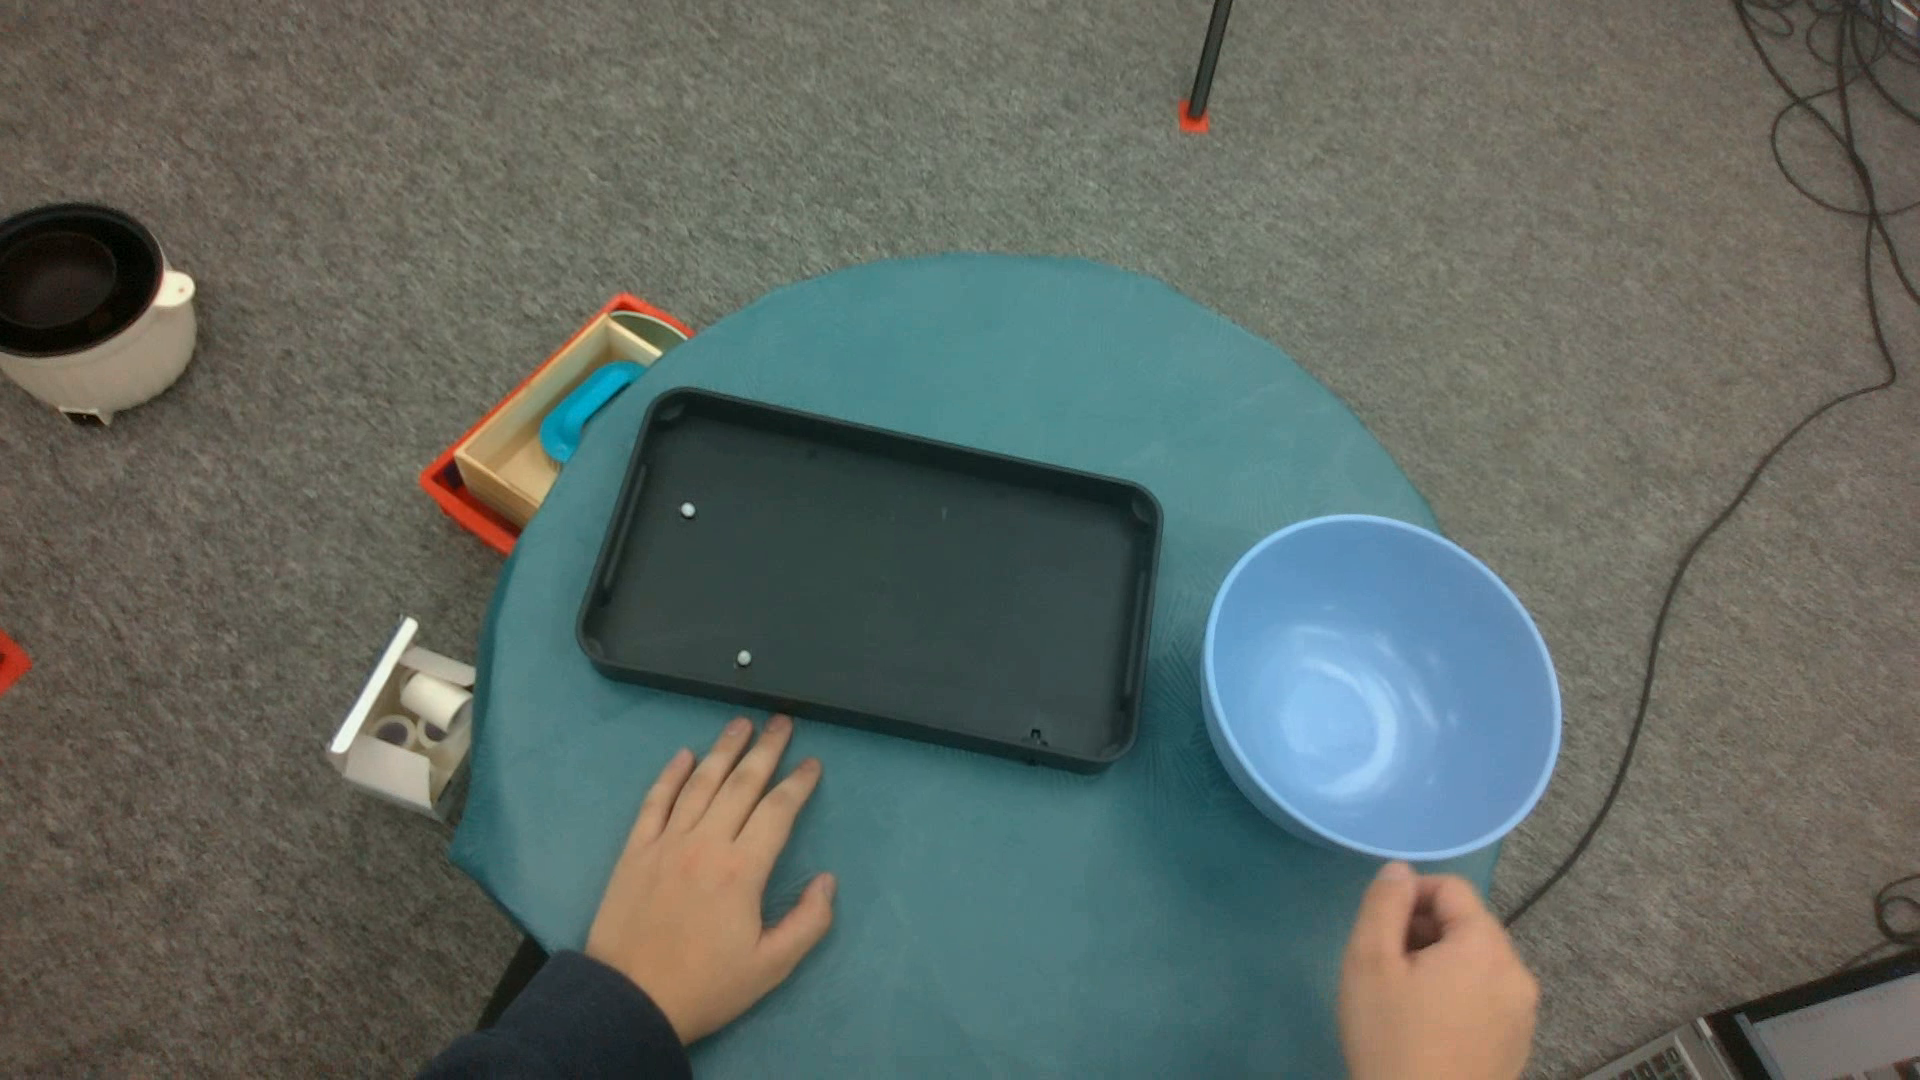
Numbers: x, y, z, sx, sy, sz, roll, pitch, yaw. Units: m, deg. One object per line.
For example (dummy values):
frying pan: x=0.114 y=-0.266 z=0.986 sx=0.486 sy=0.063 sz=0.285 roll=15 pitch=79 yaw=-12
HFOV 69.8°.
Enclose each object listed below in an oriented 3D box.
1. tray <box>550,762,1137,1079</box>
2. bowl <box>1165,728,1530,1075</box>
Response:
tray: x=-0.066 y=0.226 z=0.801 sx=0.318 sy=0.037 sz=0.185 roll=-3 pitch=50 yaw=-4
bowl: x=0.207 y=0.215 z=0.779 sx=0.196 sy=0.095 sz=0.197 roll=2 pitch=49 yaw=-2
